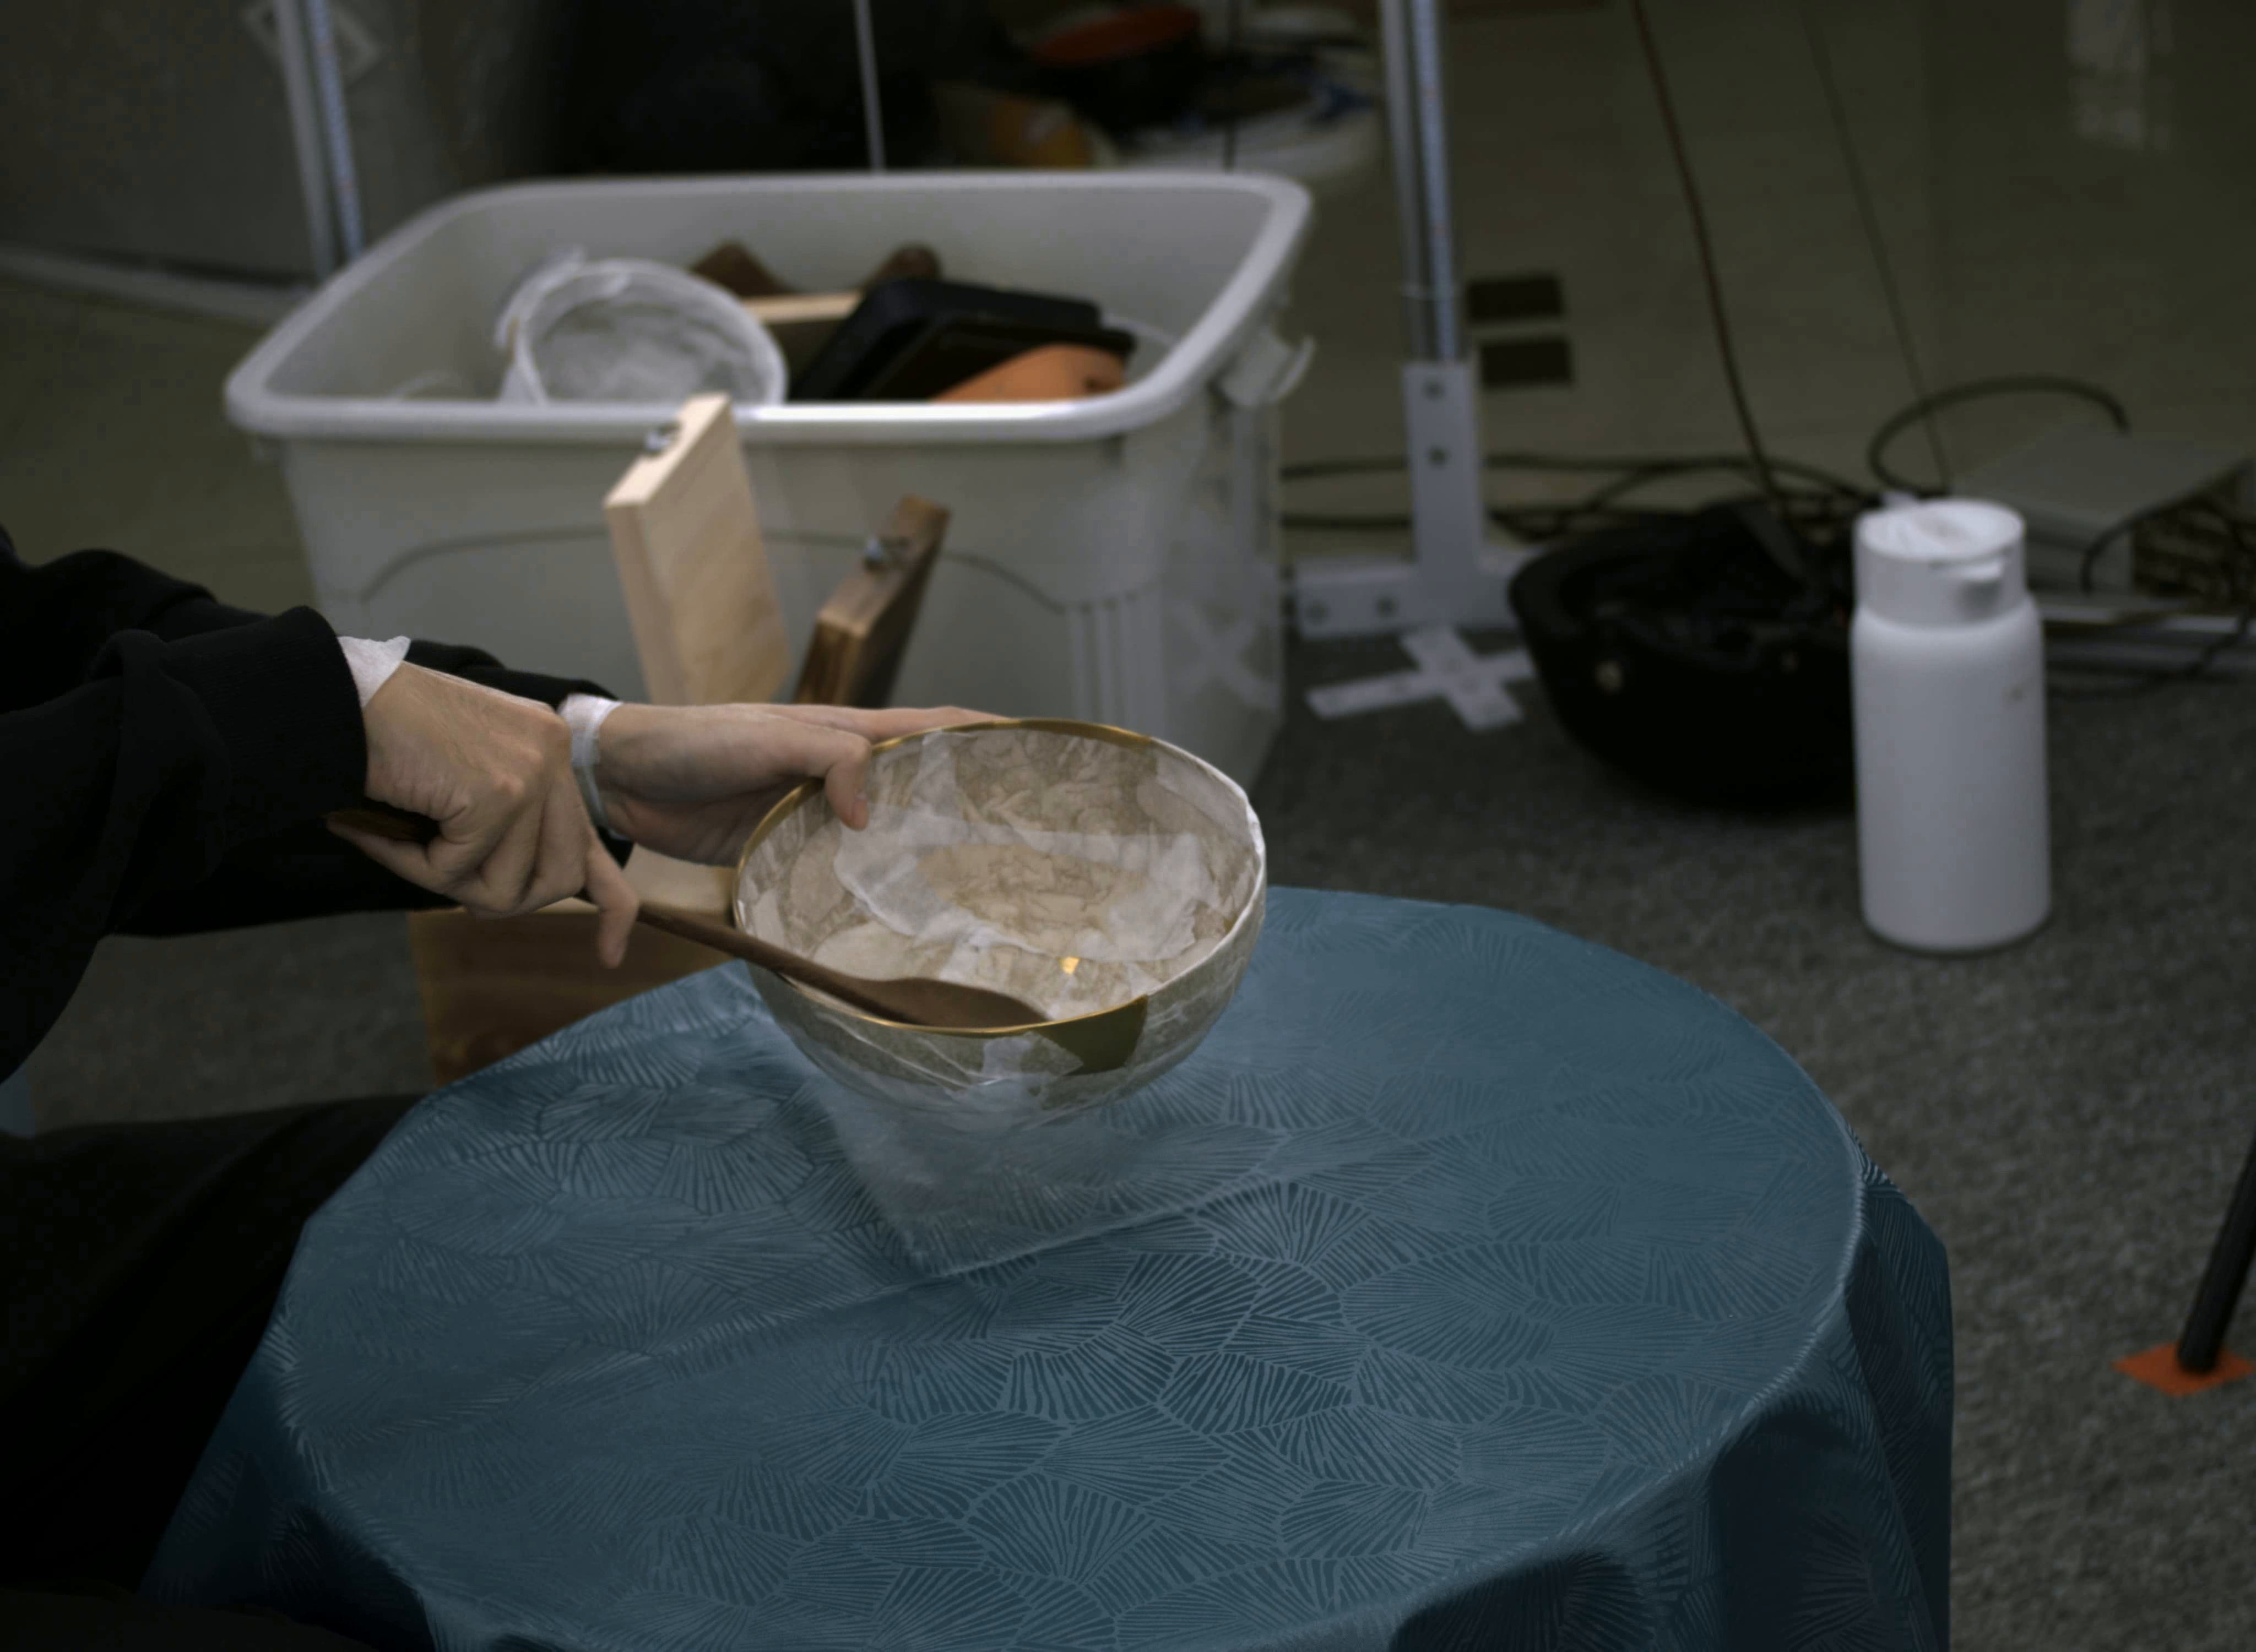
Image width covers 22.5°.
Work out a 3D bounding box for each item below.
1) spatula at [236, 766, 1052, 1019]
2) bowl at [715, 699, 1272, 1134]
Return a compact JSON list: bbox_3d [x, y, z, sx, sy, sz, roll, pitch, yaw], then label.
[{"bbox_3d":[-0.156,0.036,2.056,0.388,0.016,0.095,21,9,-36],"label":"spatula"},{"bbox_3d":[-0.047,0.050,2.152,0.214,0.096,0.211,-5,38,4],"label":"bowl"}]
